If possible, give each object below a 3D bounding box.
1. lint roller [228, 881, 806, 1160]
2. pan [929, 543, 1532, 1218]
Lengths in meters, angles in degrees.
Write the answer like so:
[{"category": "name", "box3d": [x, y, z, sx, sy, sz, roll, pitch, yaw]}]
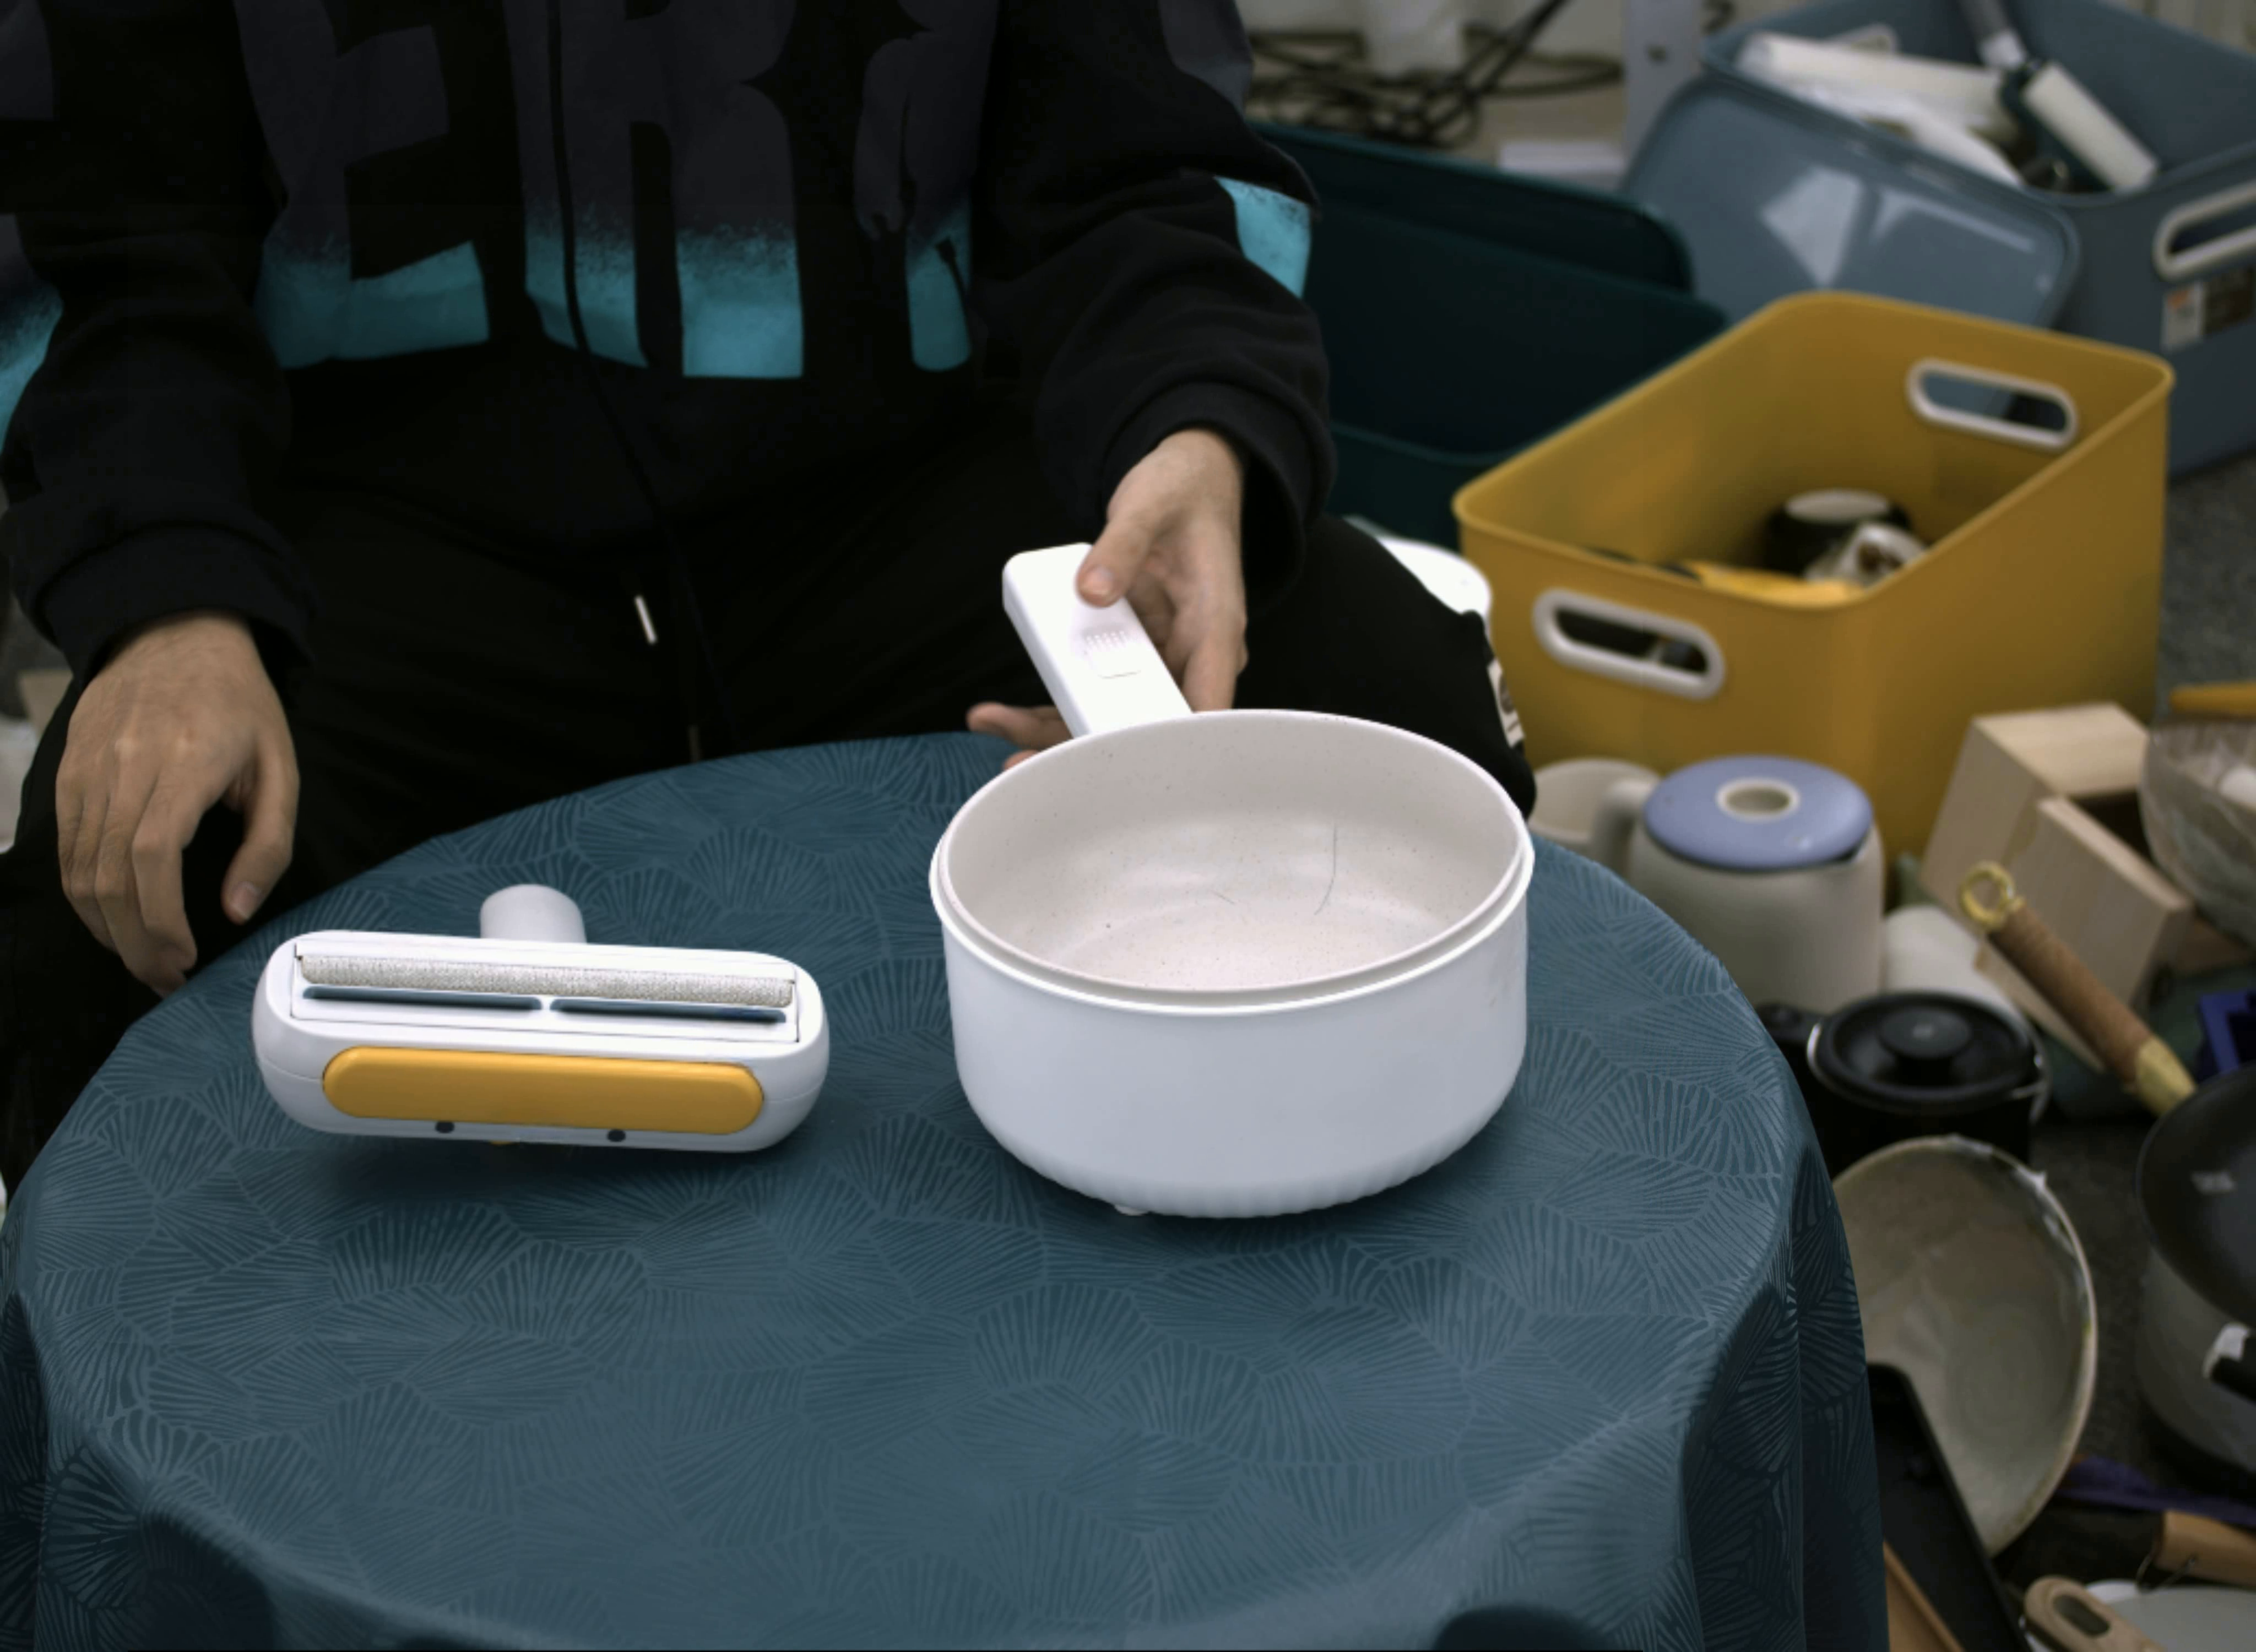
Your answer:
[{"category": "lint roller", "box3d": [-0.207, 0.053, 1.939, 0.192, 0.073, 0.195, 1, 26, -4]}, {"category": "pan", "box3d": [0.017, 0.016, 1.952, 0.201, 0.101, 0.358, -9, 28, -12]}]
